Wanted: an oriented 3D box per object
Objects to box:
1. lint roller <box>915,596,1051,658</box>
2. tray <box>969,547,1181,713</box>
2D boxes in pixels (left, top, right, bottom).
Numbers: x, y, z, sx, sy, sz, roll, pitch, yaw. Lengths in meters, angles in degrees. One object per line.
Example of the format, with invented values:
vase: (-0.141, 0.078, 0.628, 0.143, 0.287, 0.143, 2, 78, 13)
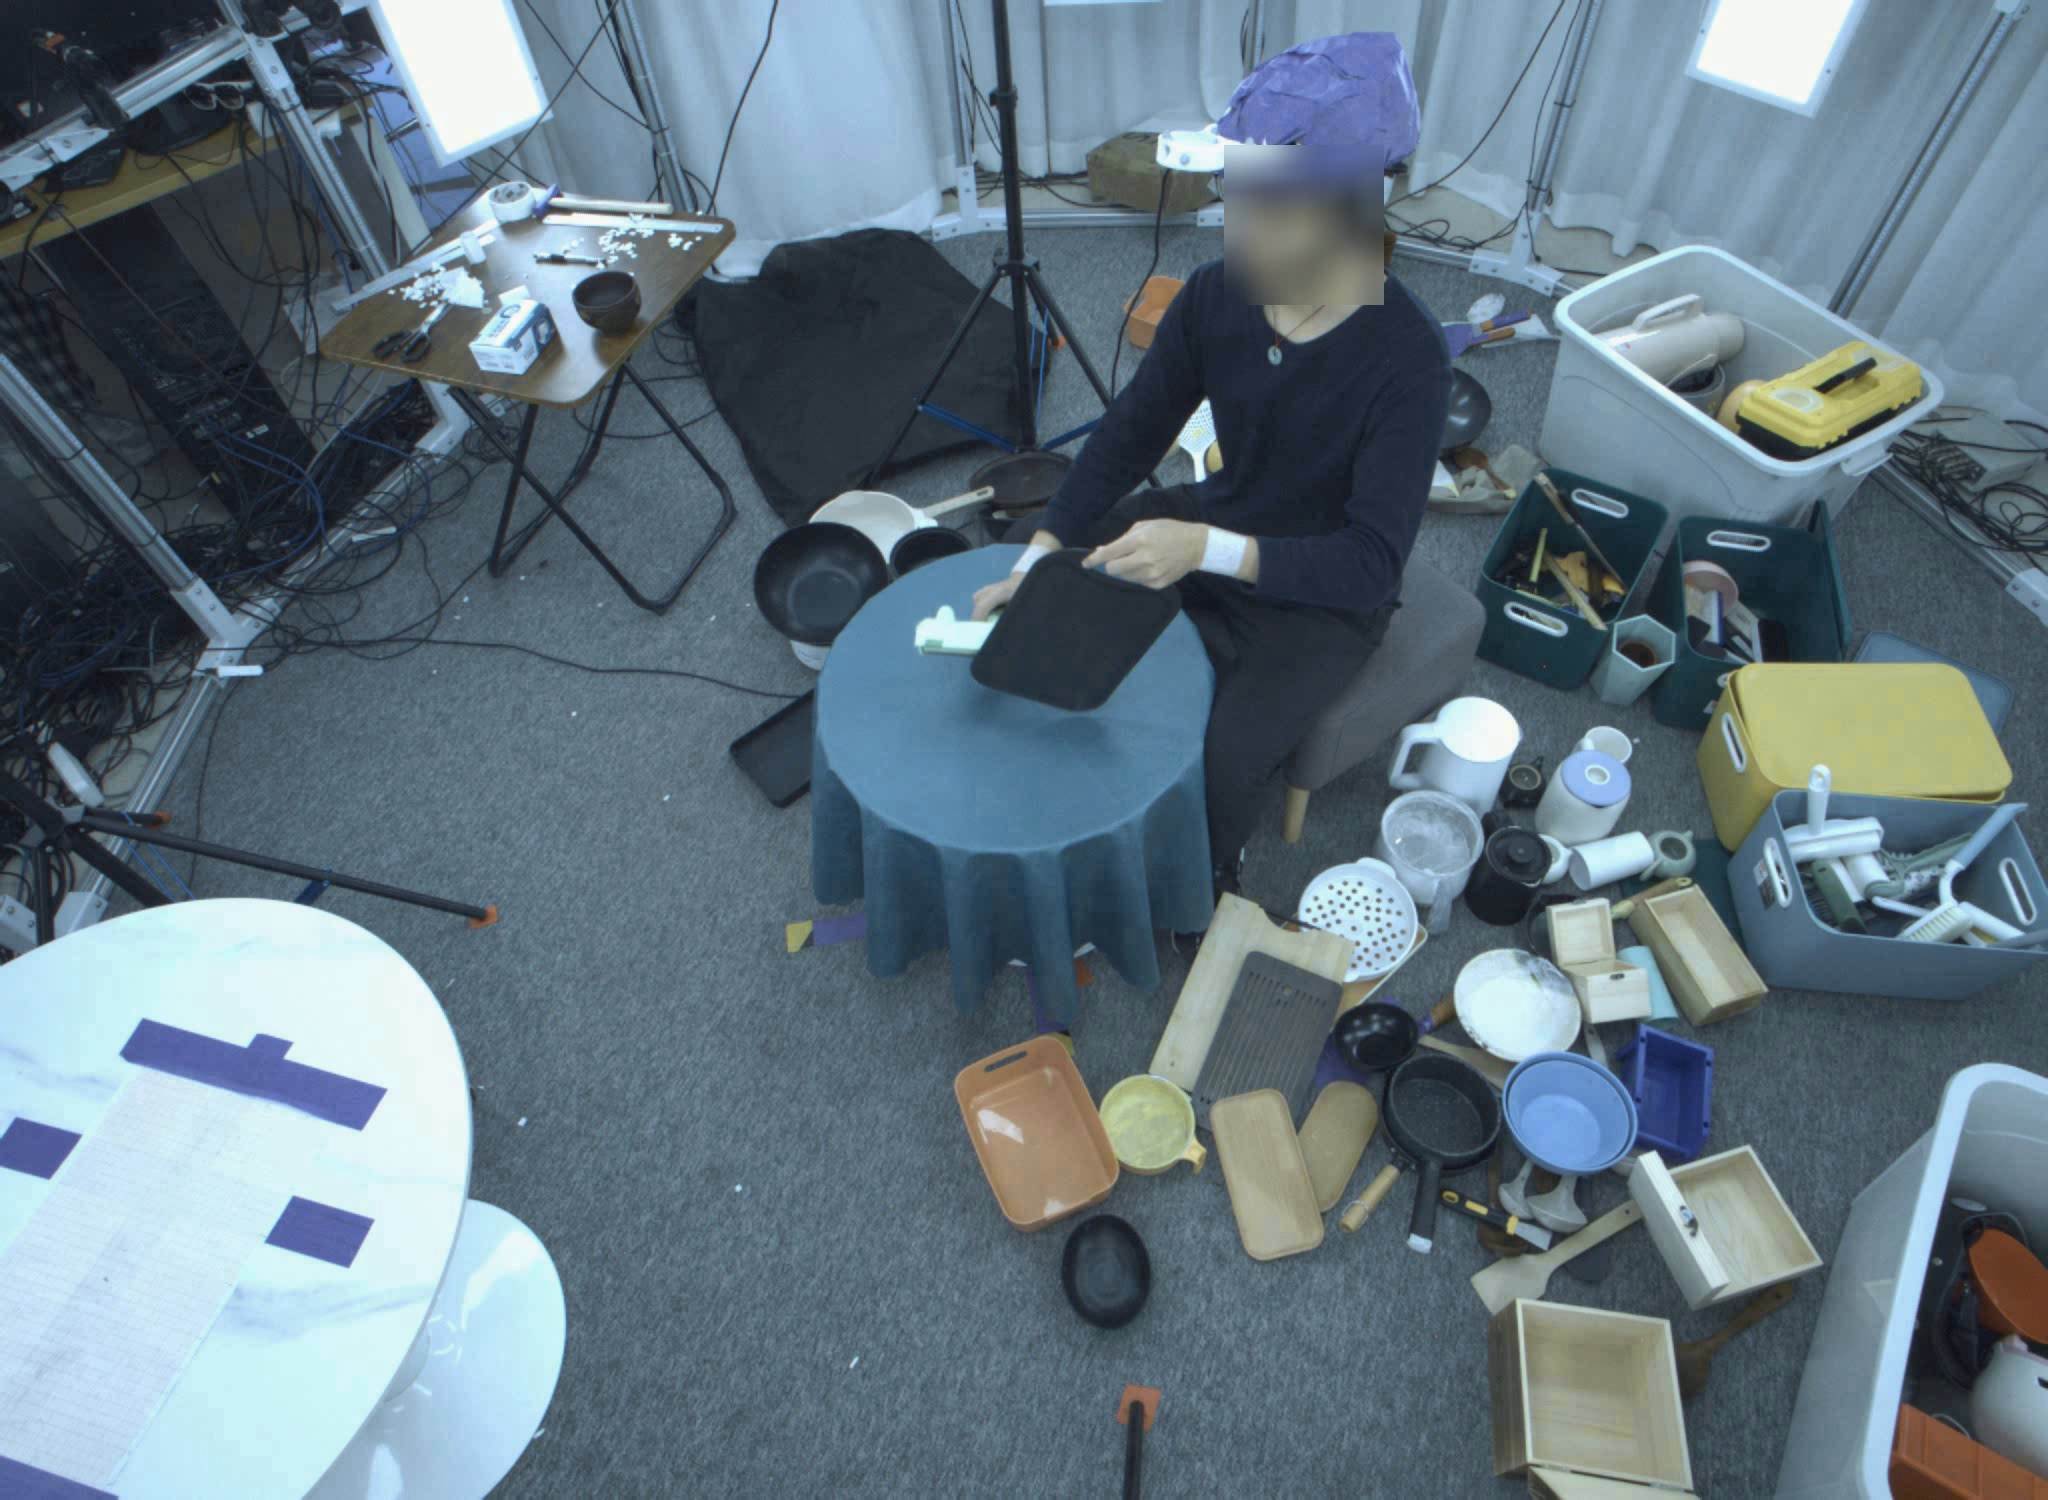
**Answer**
lint roller: (-0.045, -0.198, 1.788, 0.198, 0.083, 0.182, 6, 40, 5)
tray: (0.067, -0.157, 1.667, 0.214, 0.323, 0.010, 16, 52, -19)
